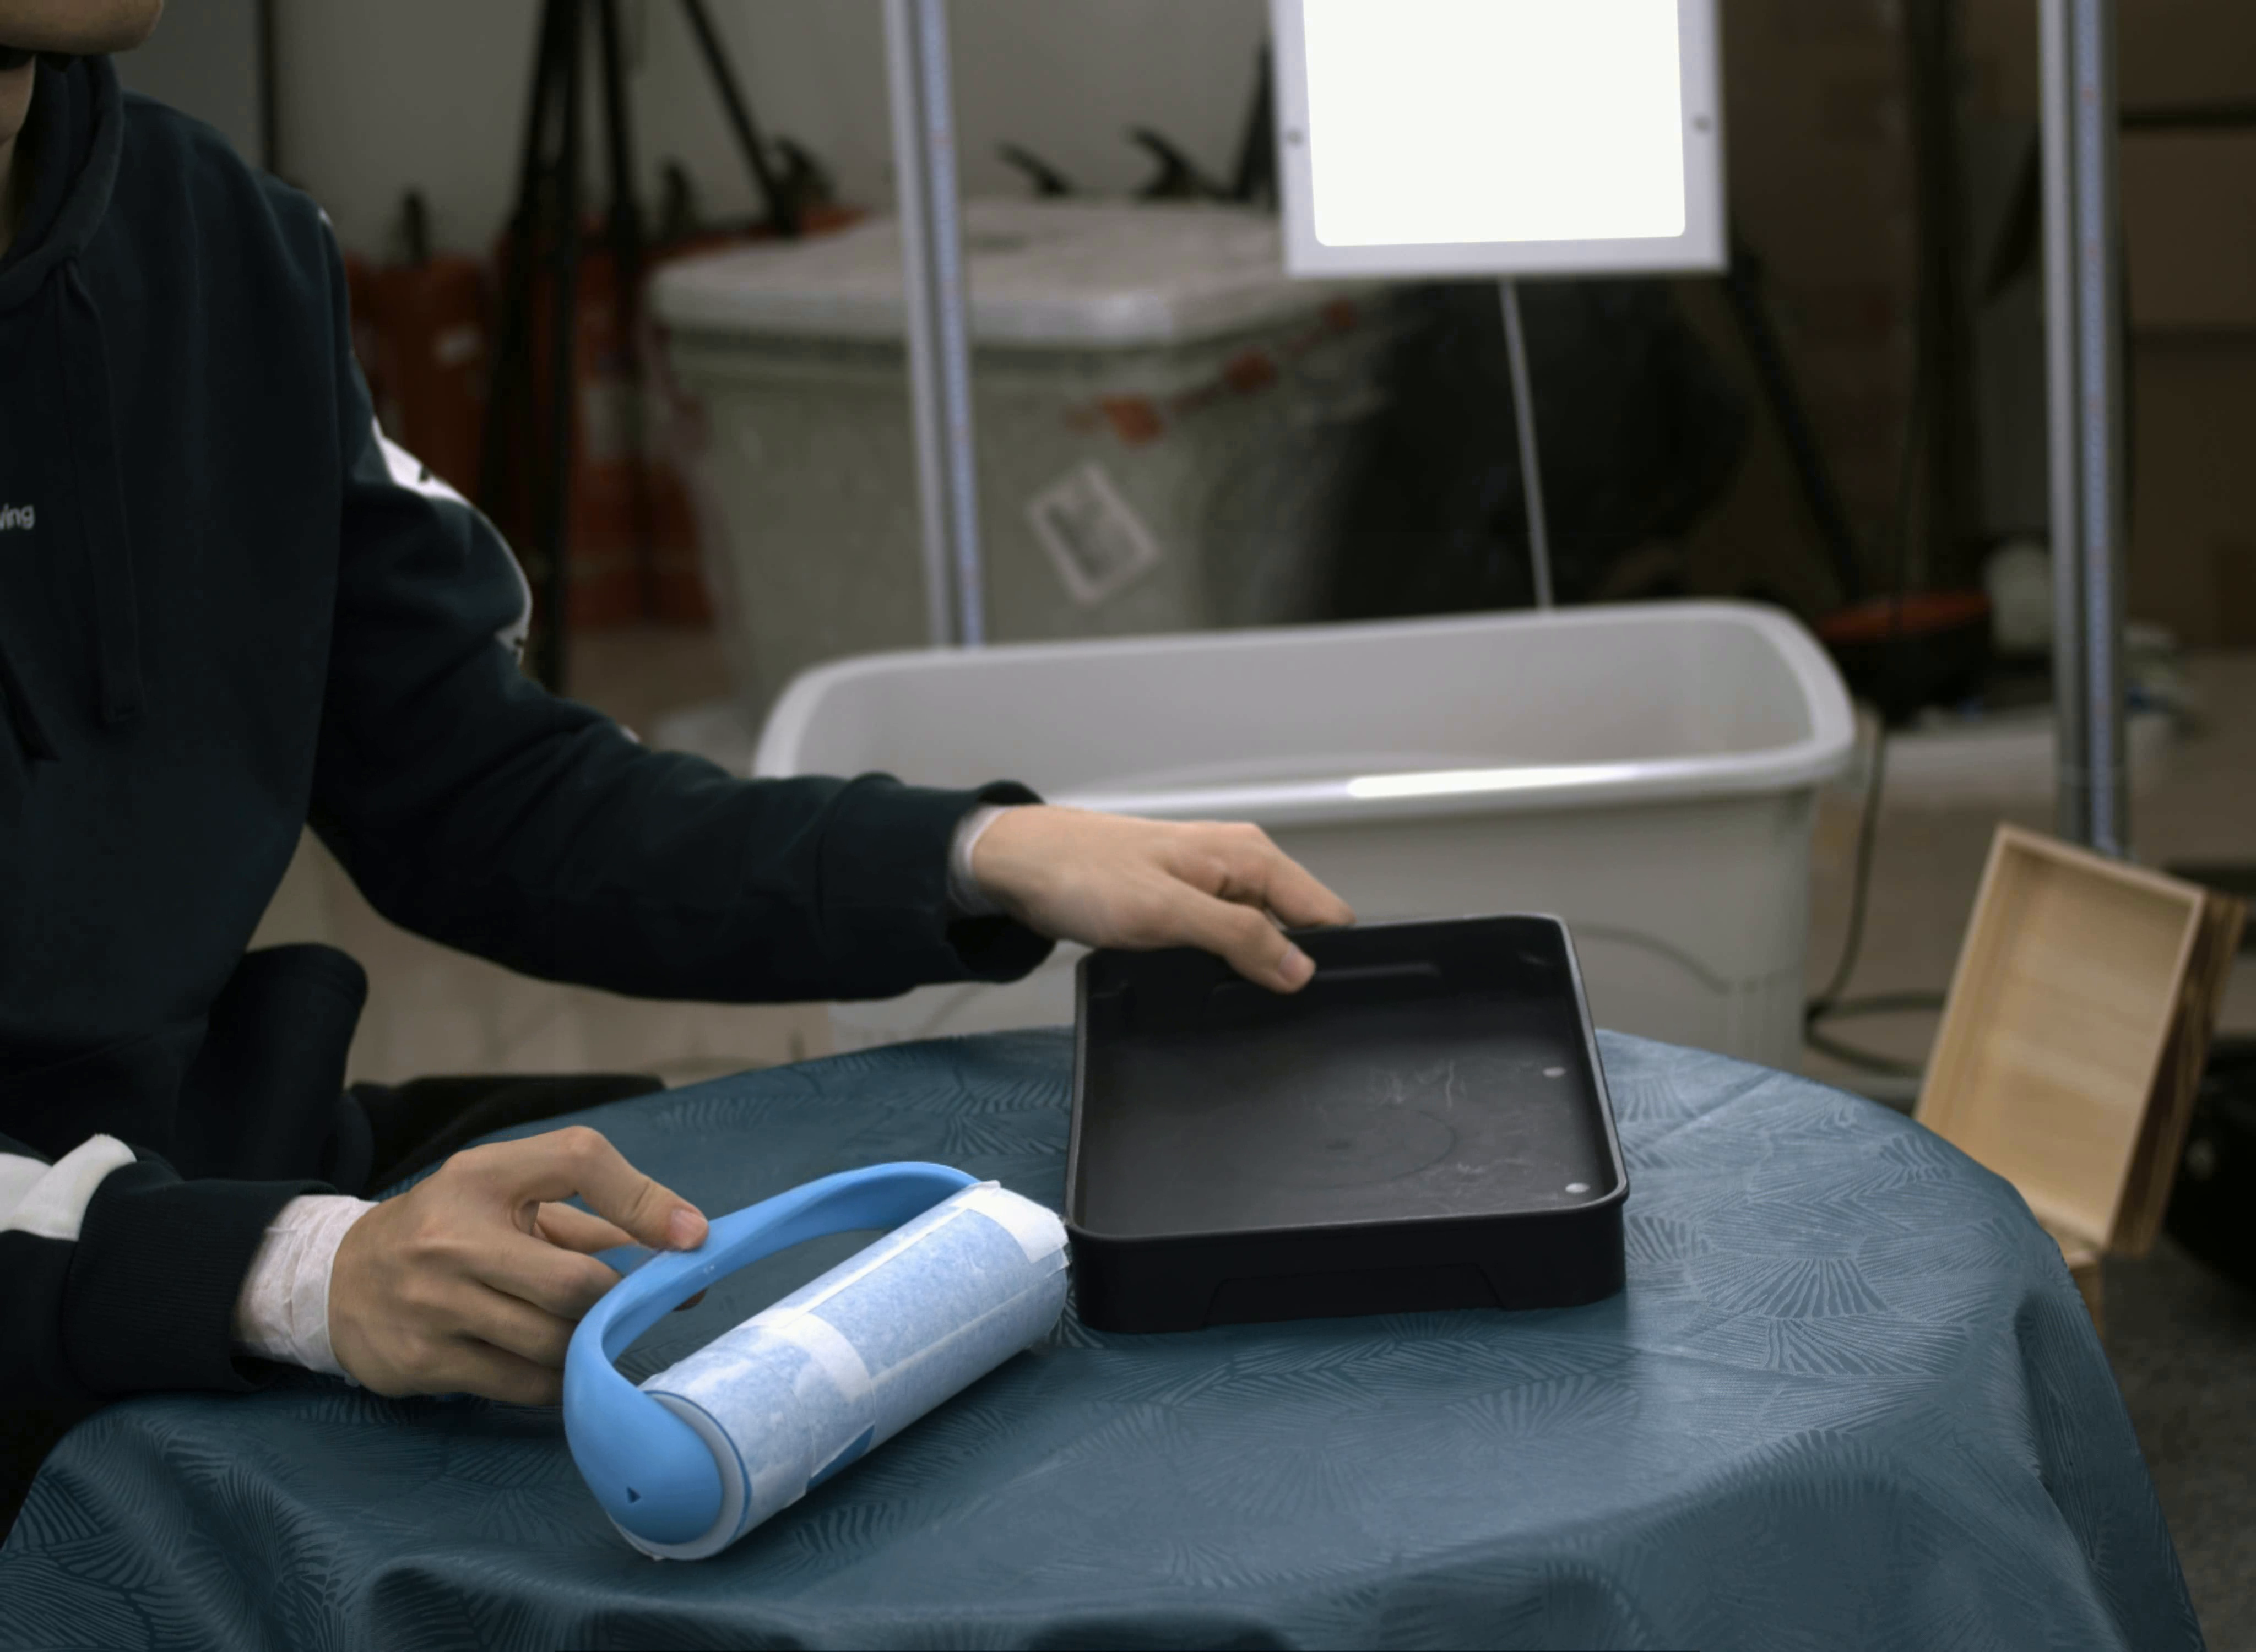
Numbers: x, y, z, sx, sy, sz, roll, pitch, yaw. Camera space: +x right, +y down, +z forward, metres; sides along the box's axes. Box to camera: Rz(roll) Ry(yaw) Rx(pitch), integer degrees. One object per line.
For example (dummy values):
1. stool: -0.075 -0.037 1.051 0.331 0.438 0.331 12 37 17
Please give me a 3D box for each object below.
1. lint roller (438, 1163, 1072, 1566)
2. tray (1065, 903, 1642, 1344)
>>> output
1. lint roller: -0.138 0.158 1.693 0.183 0.068 0.224 4 18 27
2. tray: 0.072 0.097 1.892 0.184 0.037 0.317 -6 17 1
